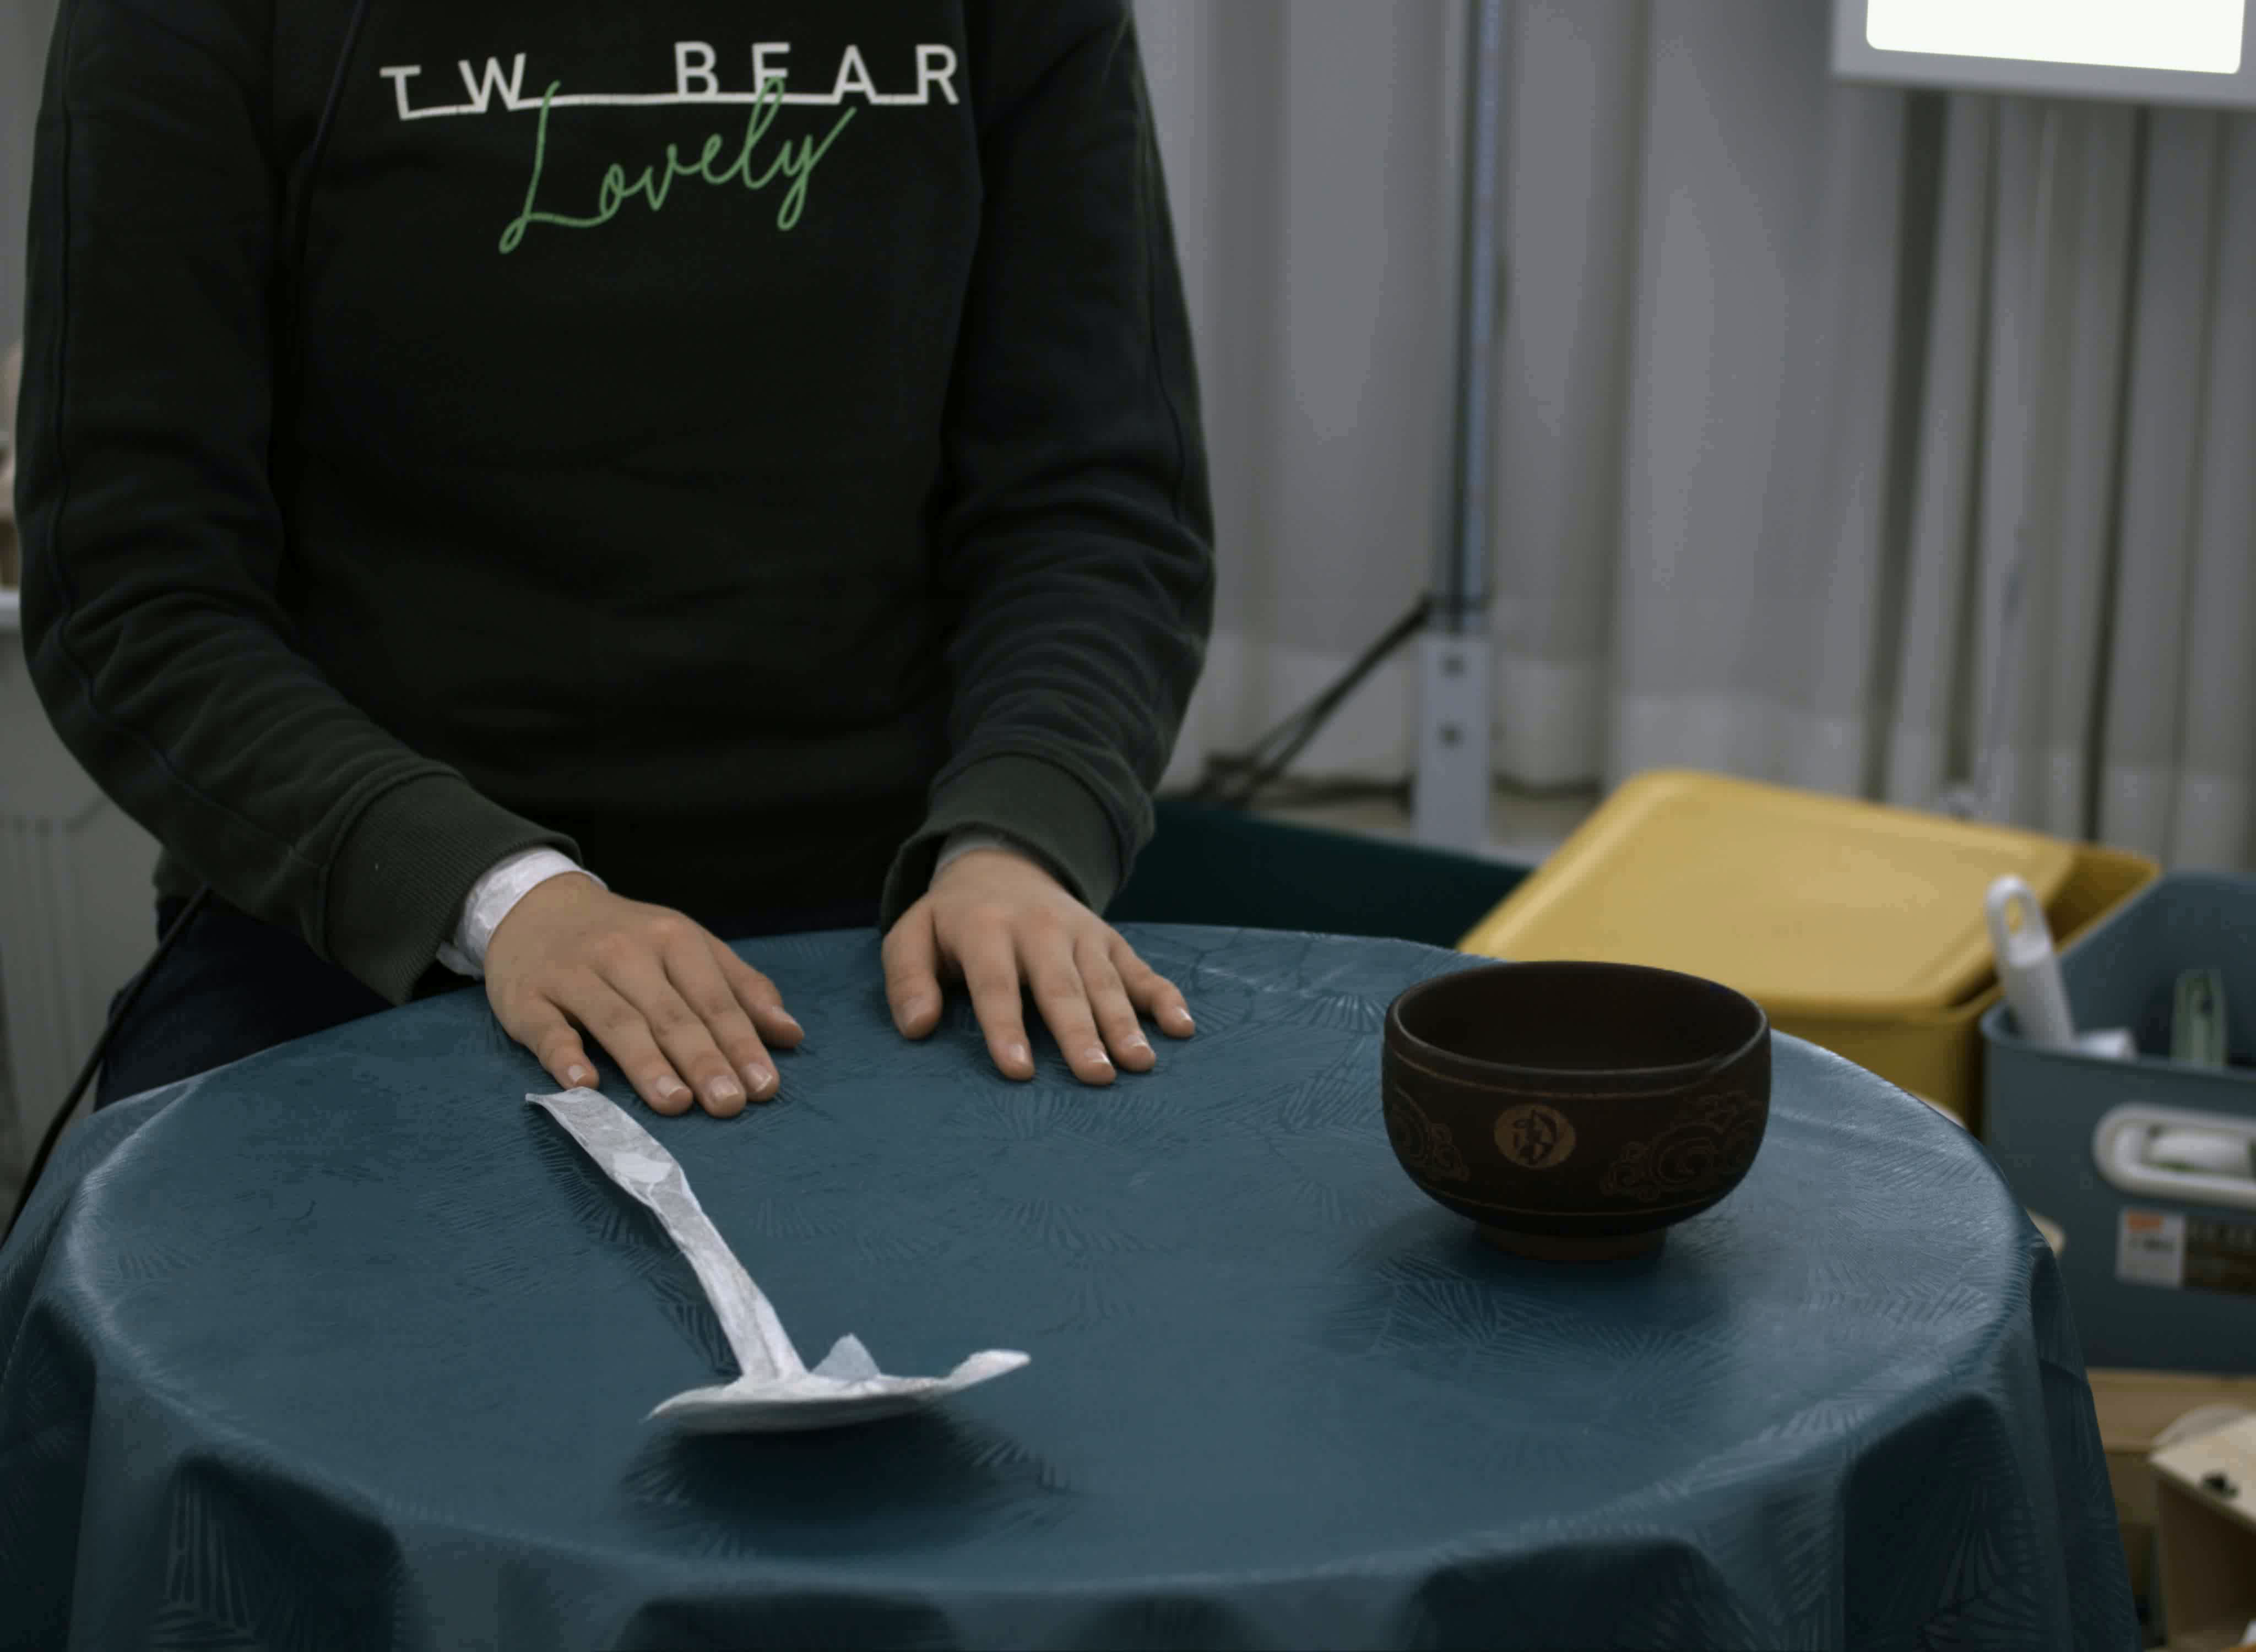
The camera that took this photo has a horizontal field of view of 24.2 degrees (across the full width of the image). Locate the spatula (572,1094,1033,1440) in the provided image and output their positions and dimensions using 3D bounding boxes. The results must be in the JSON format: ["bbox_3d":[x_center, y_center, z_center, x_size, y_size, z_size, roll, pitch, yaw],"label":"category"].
[{"bbox_3d":[-0.120,0.118,1.529,0.099,0.045,0.361,-7,18,-17],"label":"spatula"}]

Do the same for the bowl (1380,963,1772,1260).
[{"bbox_3d":[0.134,0.089,1.585,0.117,0.070,0.117,1,14,0],"label":"bowl"}]
